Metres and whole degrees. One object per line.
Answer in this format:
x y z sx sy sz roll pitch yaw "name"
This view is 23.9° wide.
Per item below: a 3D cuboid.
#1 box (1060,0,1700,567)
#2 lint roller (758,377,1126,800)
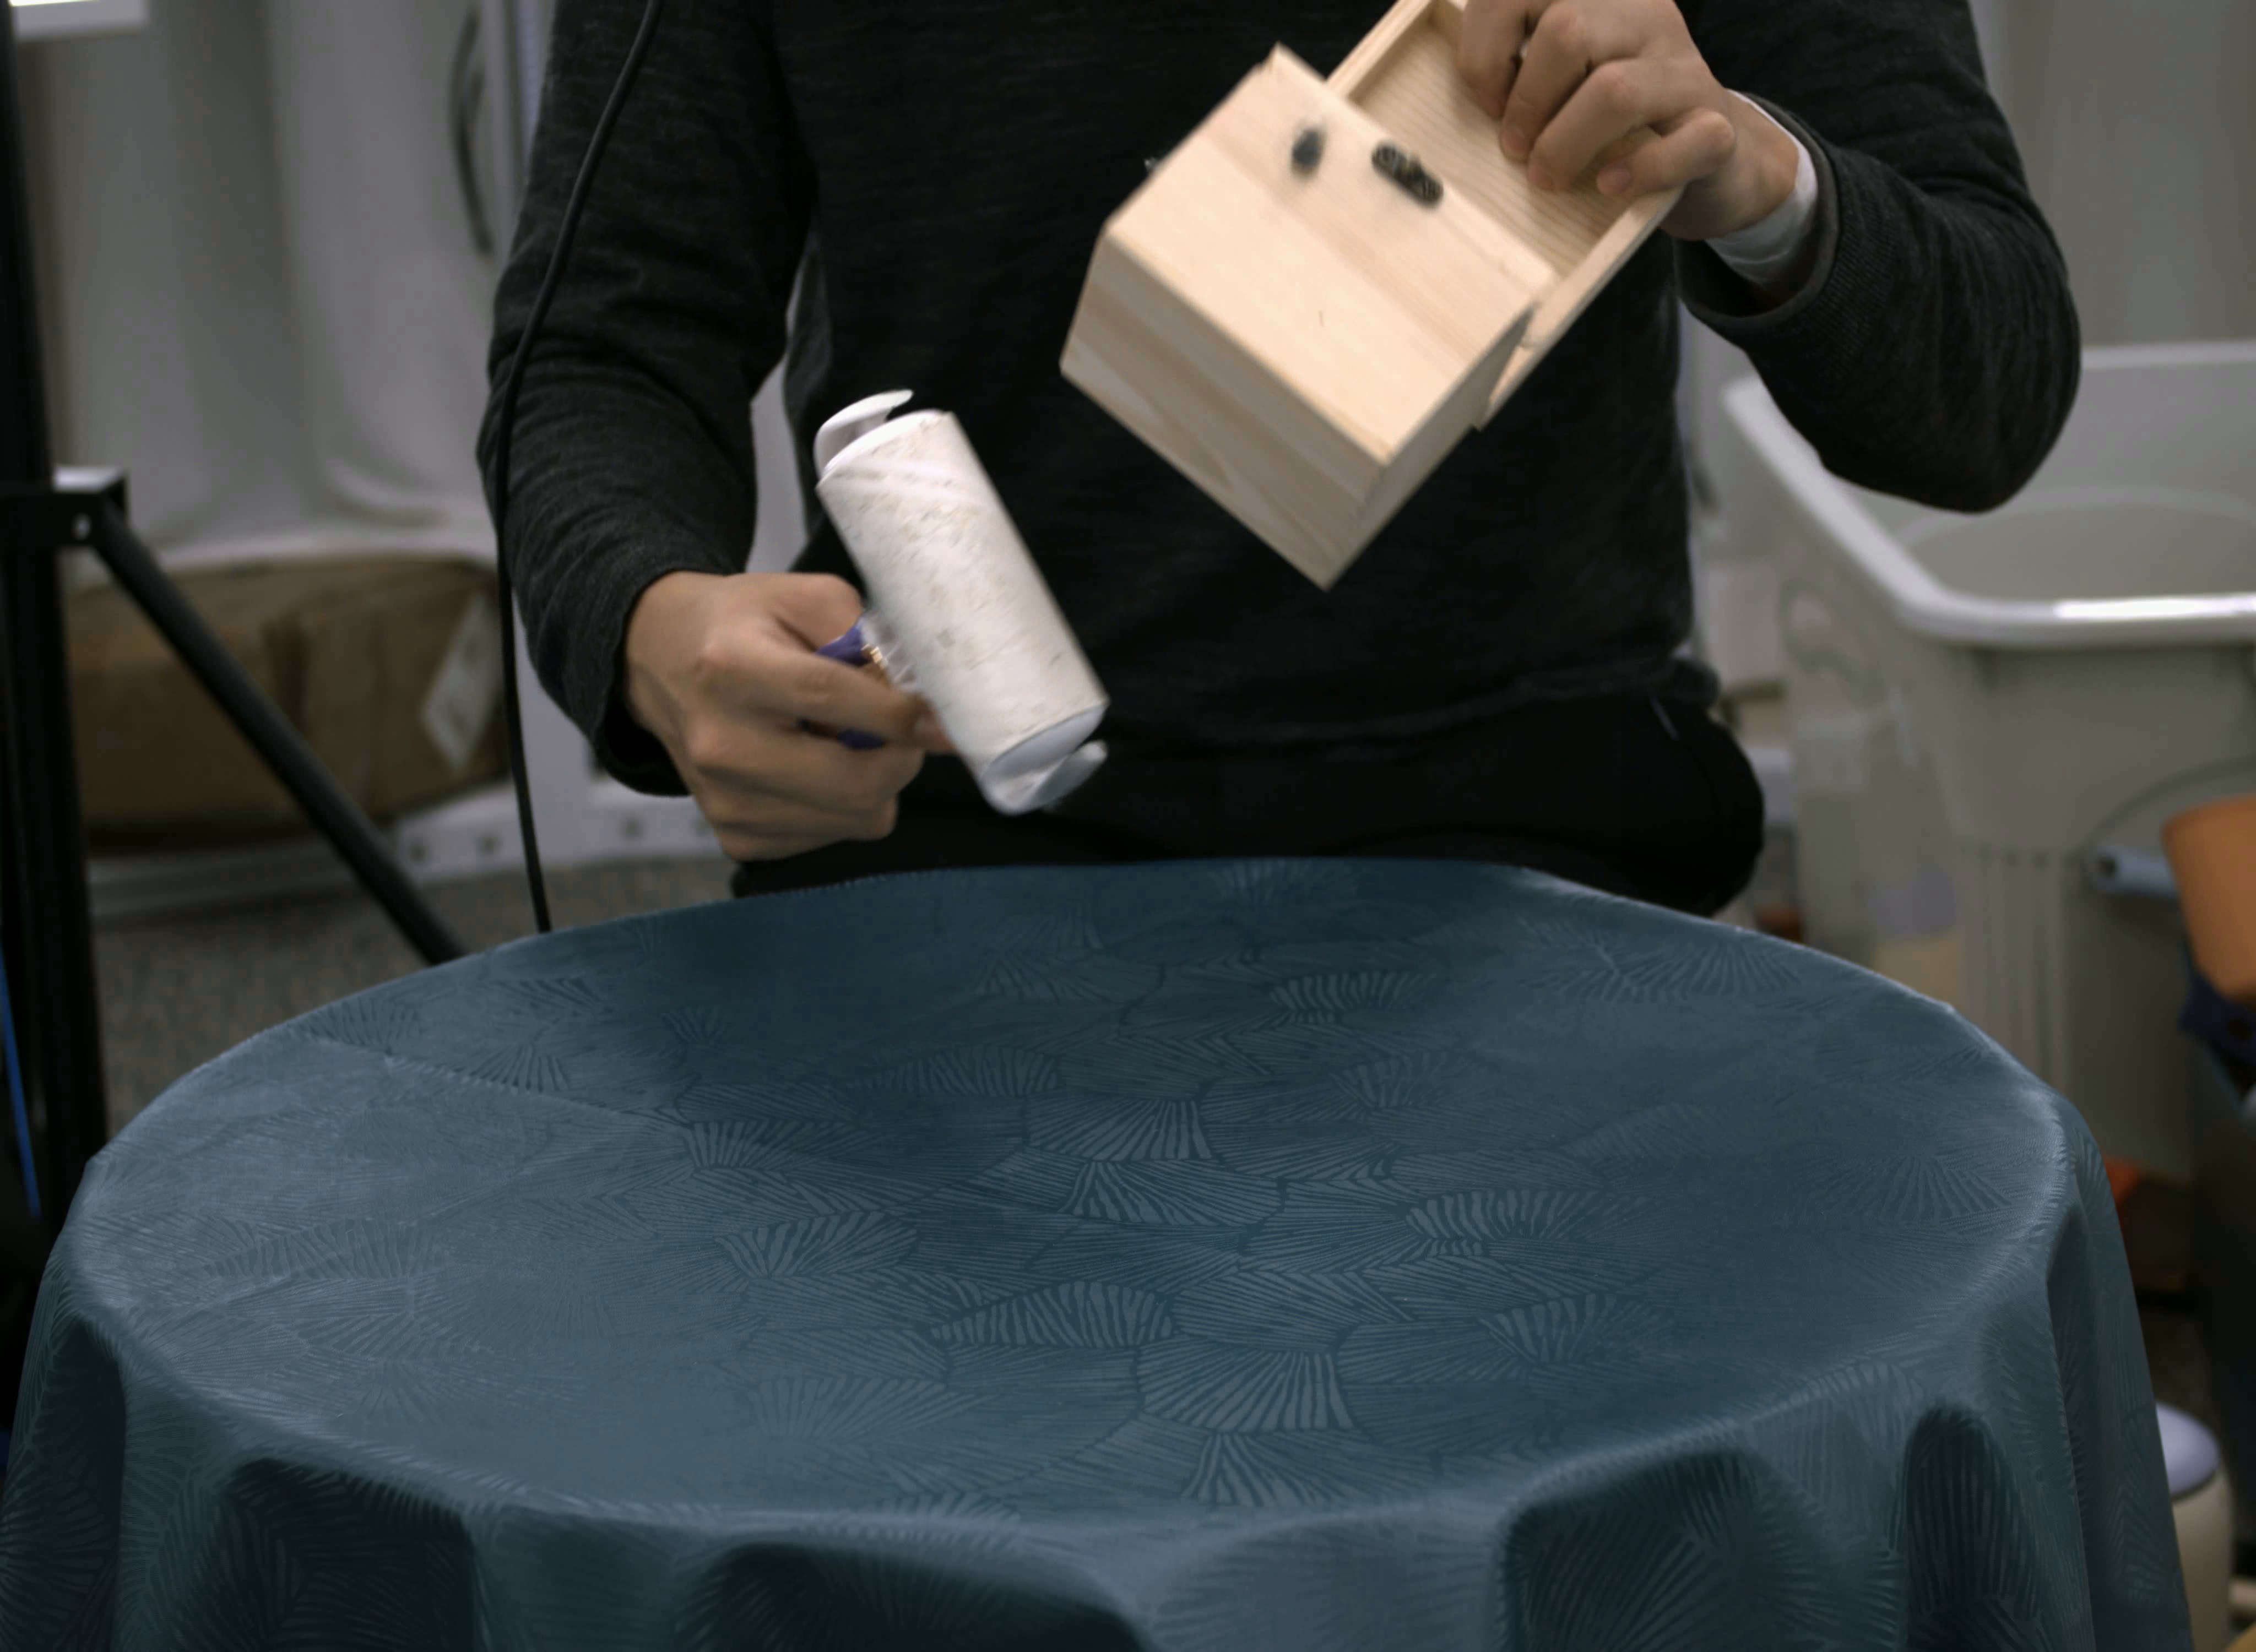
0.081 -0.181 1.519 0.183 0.103 0.134 -46 -8 -19 "box"
-0.080 -0.049 1.632 0.049 0.133 0.183 -25 -6 -40 "lint roller"
